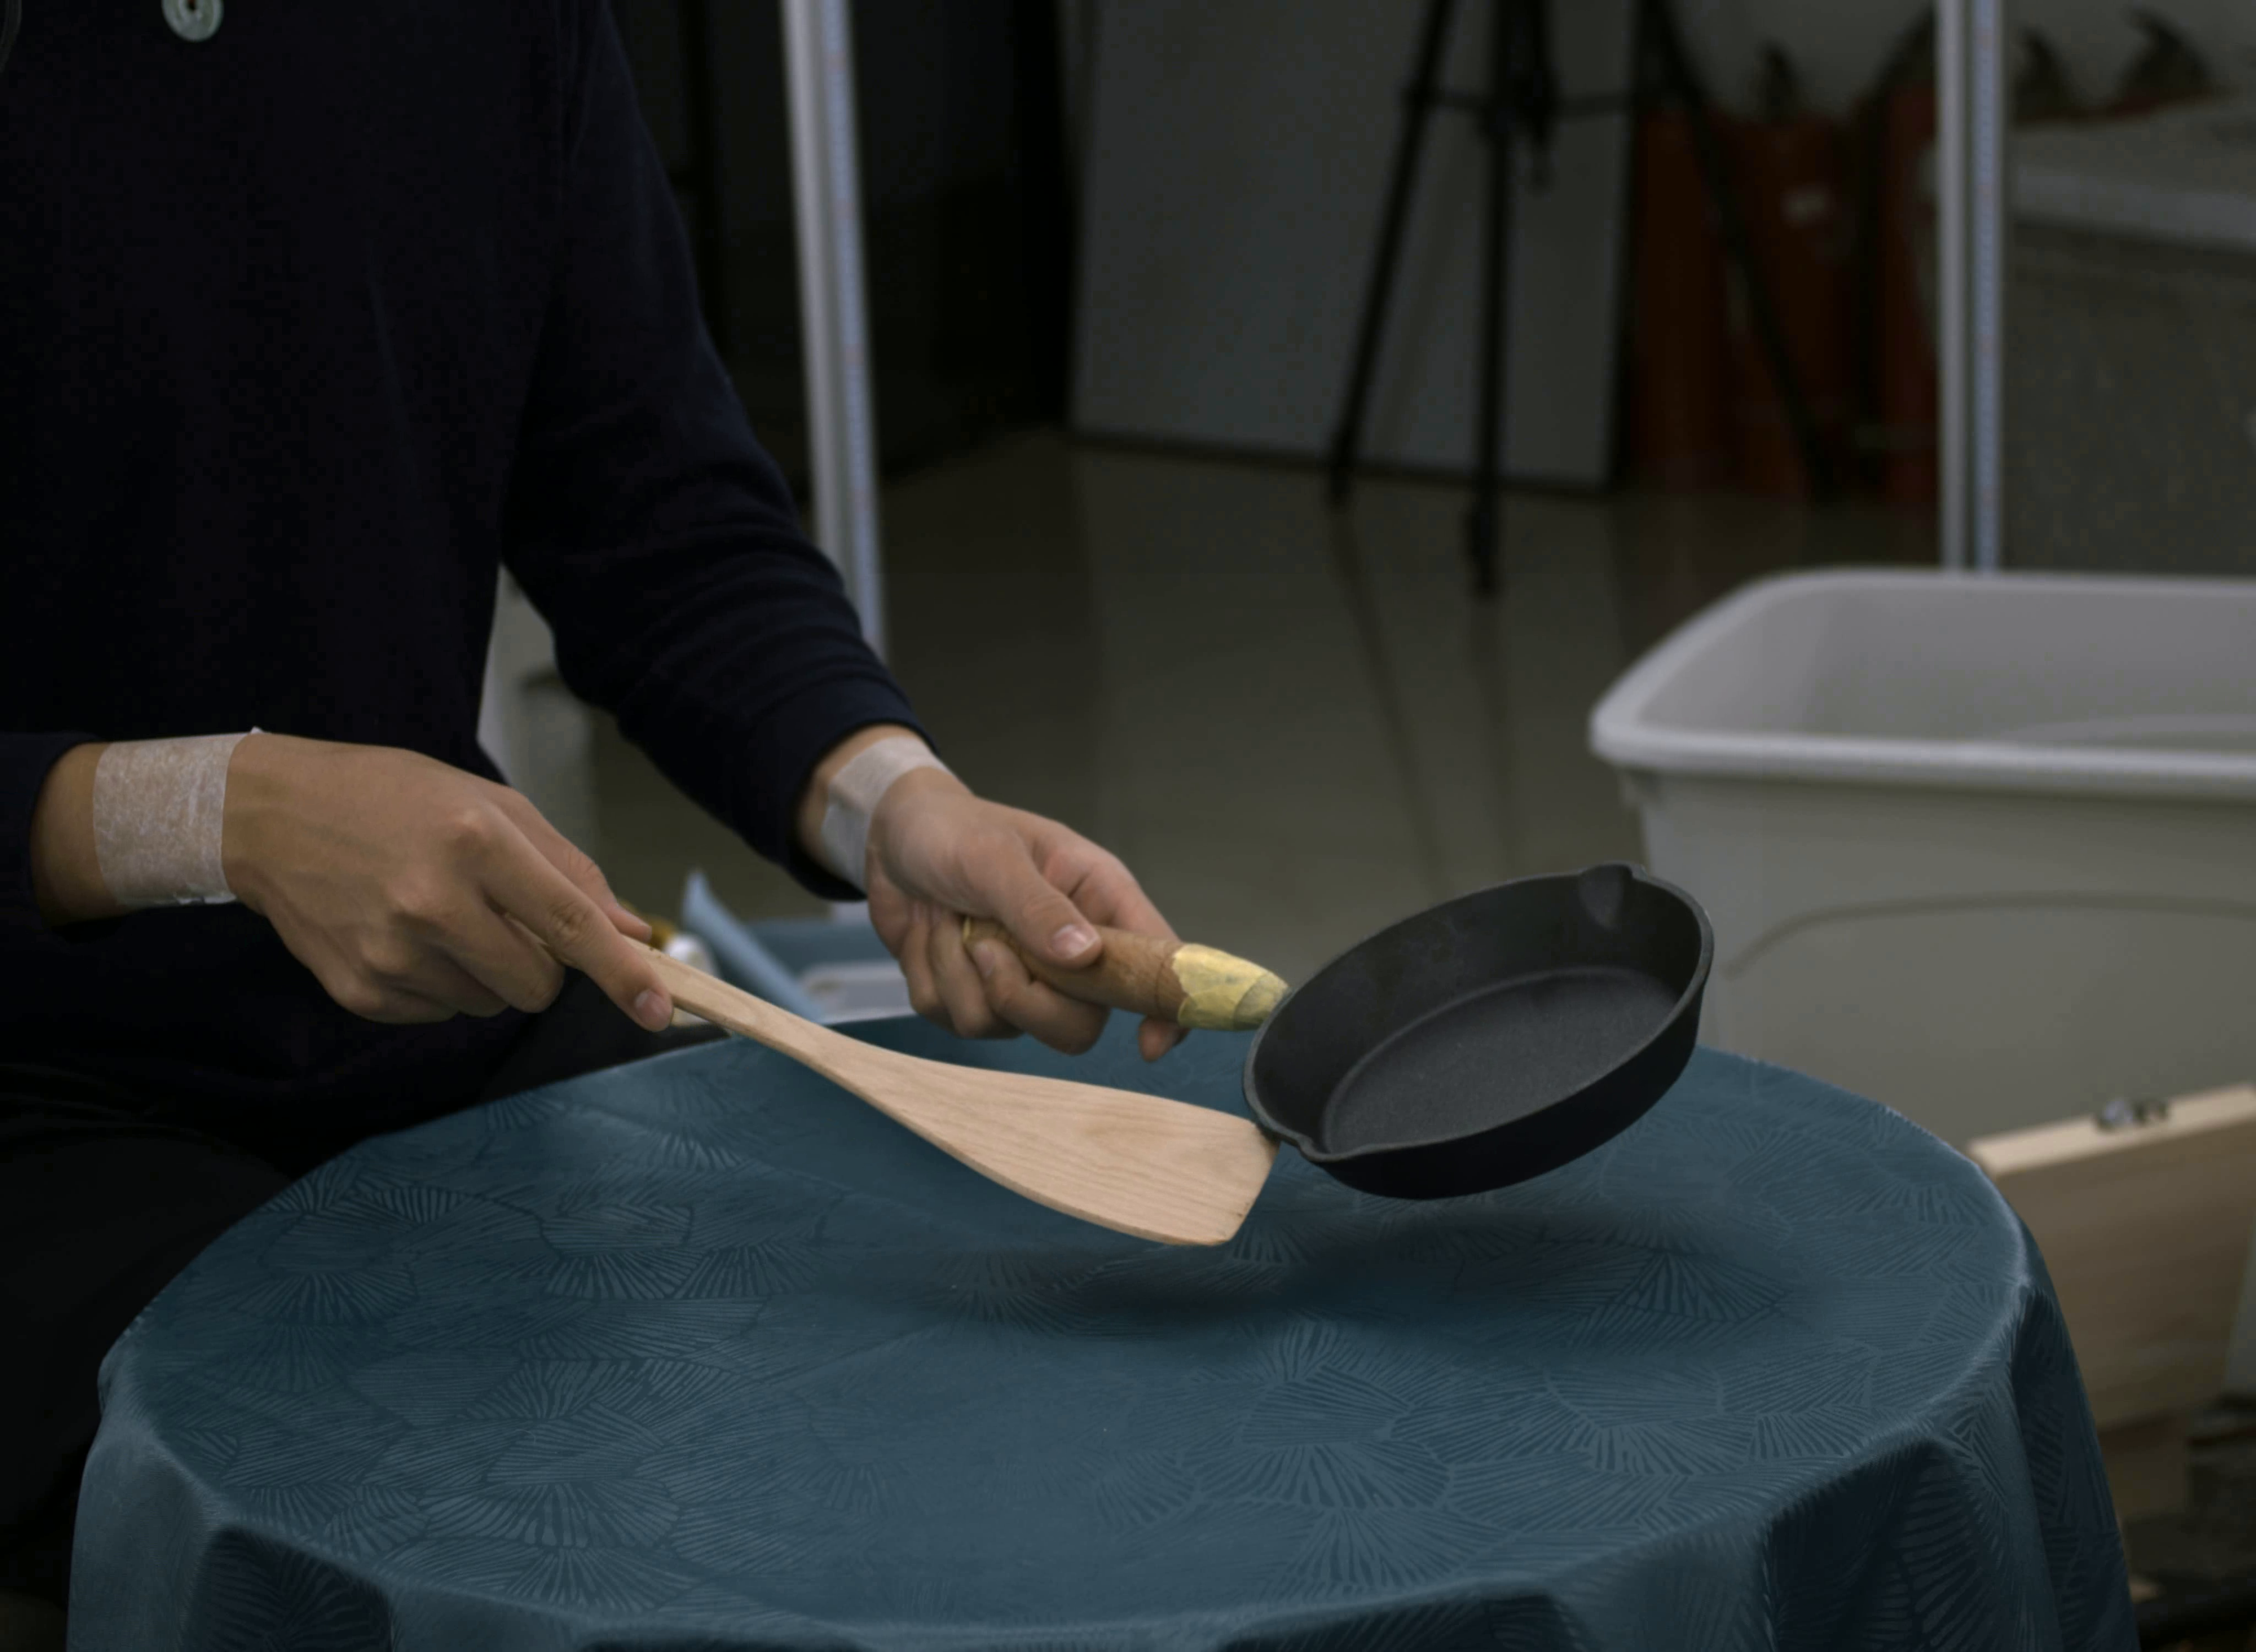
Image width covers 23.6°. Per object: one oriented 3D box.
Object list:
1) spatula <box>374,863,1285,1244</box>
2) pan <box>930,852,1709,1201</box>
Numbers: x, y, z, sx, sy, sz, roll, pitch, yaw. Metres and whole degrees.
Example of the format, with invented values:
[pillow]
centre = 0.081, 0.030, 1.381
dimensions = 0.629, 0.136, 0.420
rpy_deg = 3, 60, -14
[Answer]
[spatula]
centre = -0.098, 0.065, 1.708
dimensions = 0.328, 0.017, 0.079
rpy_deg = 20, 30, 21
[pan]
centre = 0.053, 0.056, 1.750
dimensions = 0.327, 0.049, 0.167
rpy_deg = 6, 37, 47
